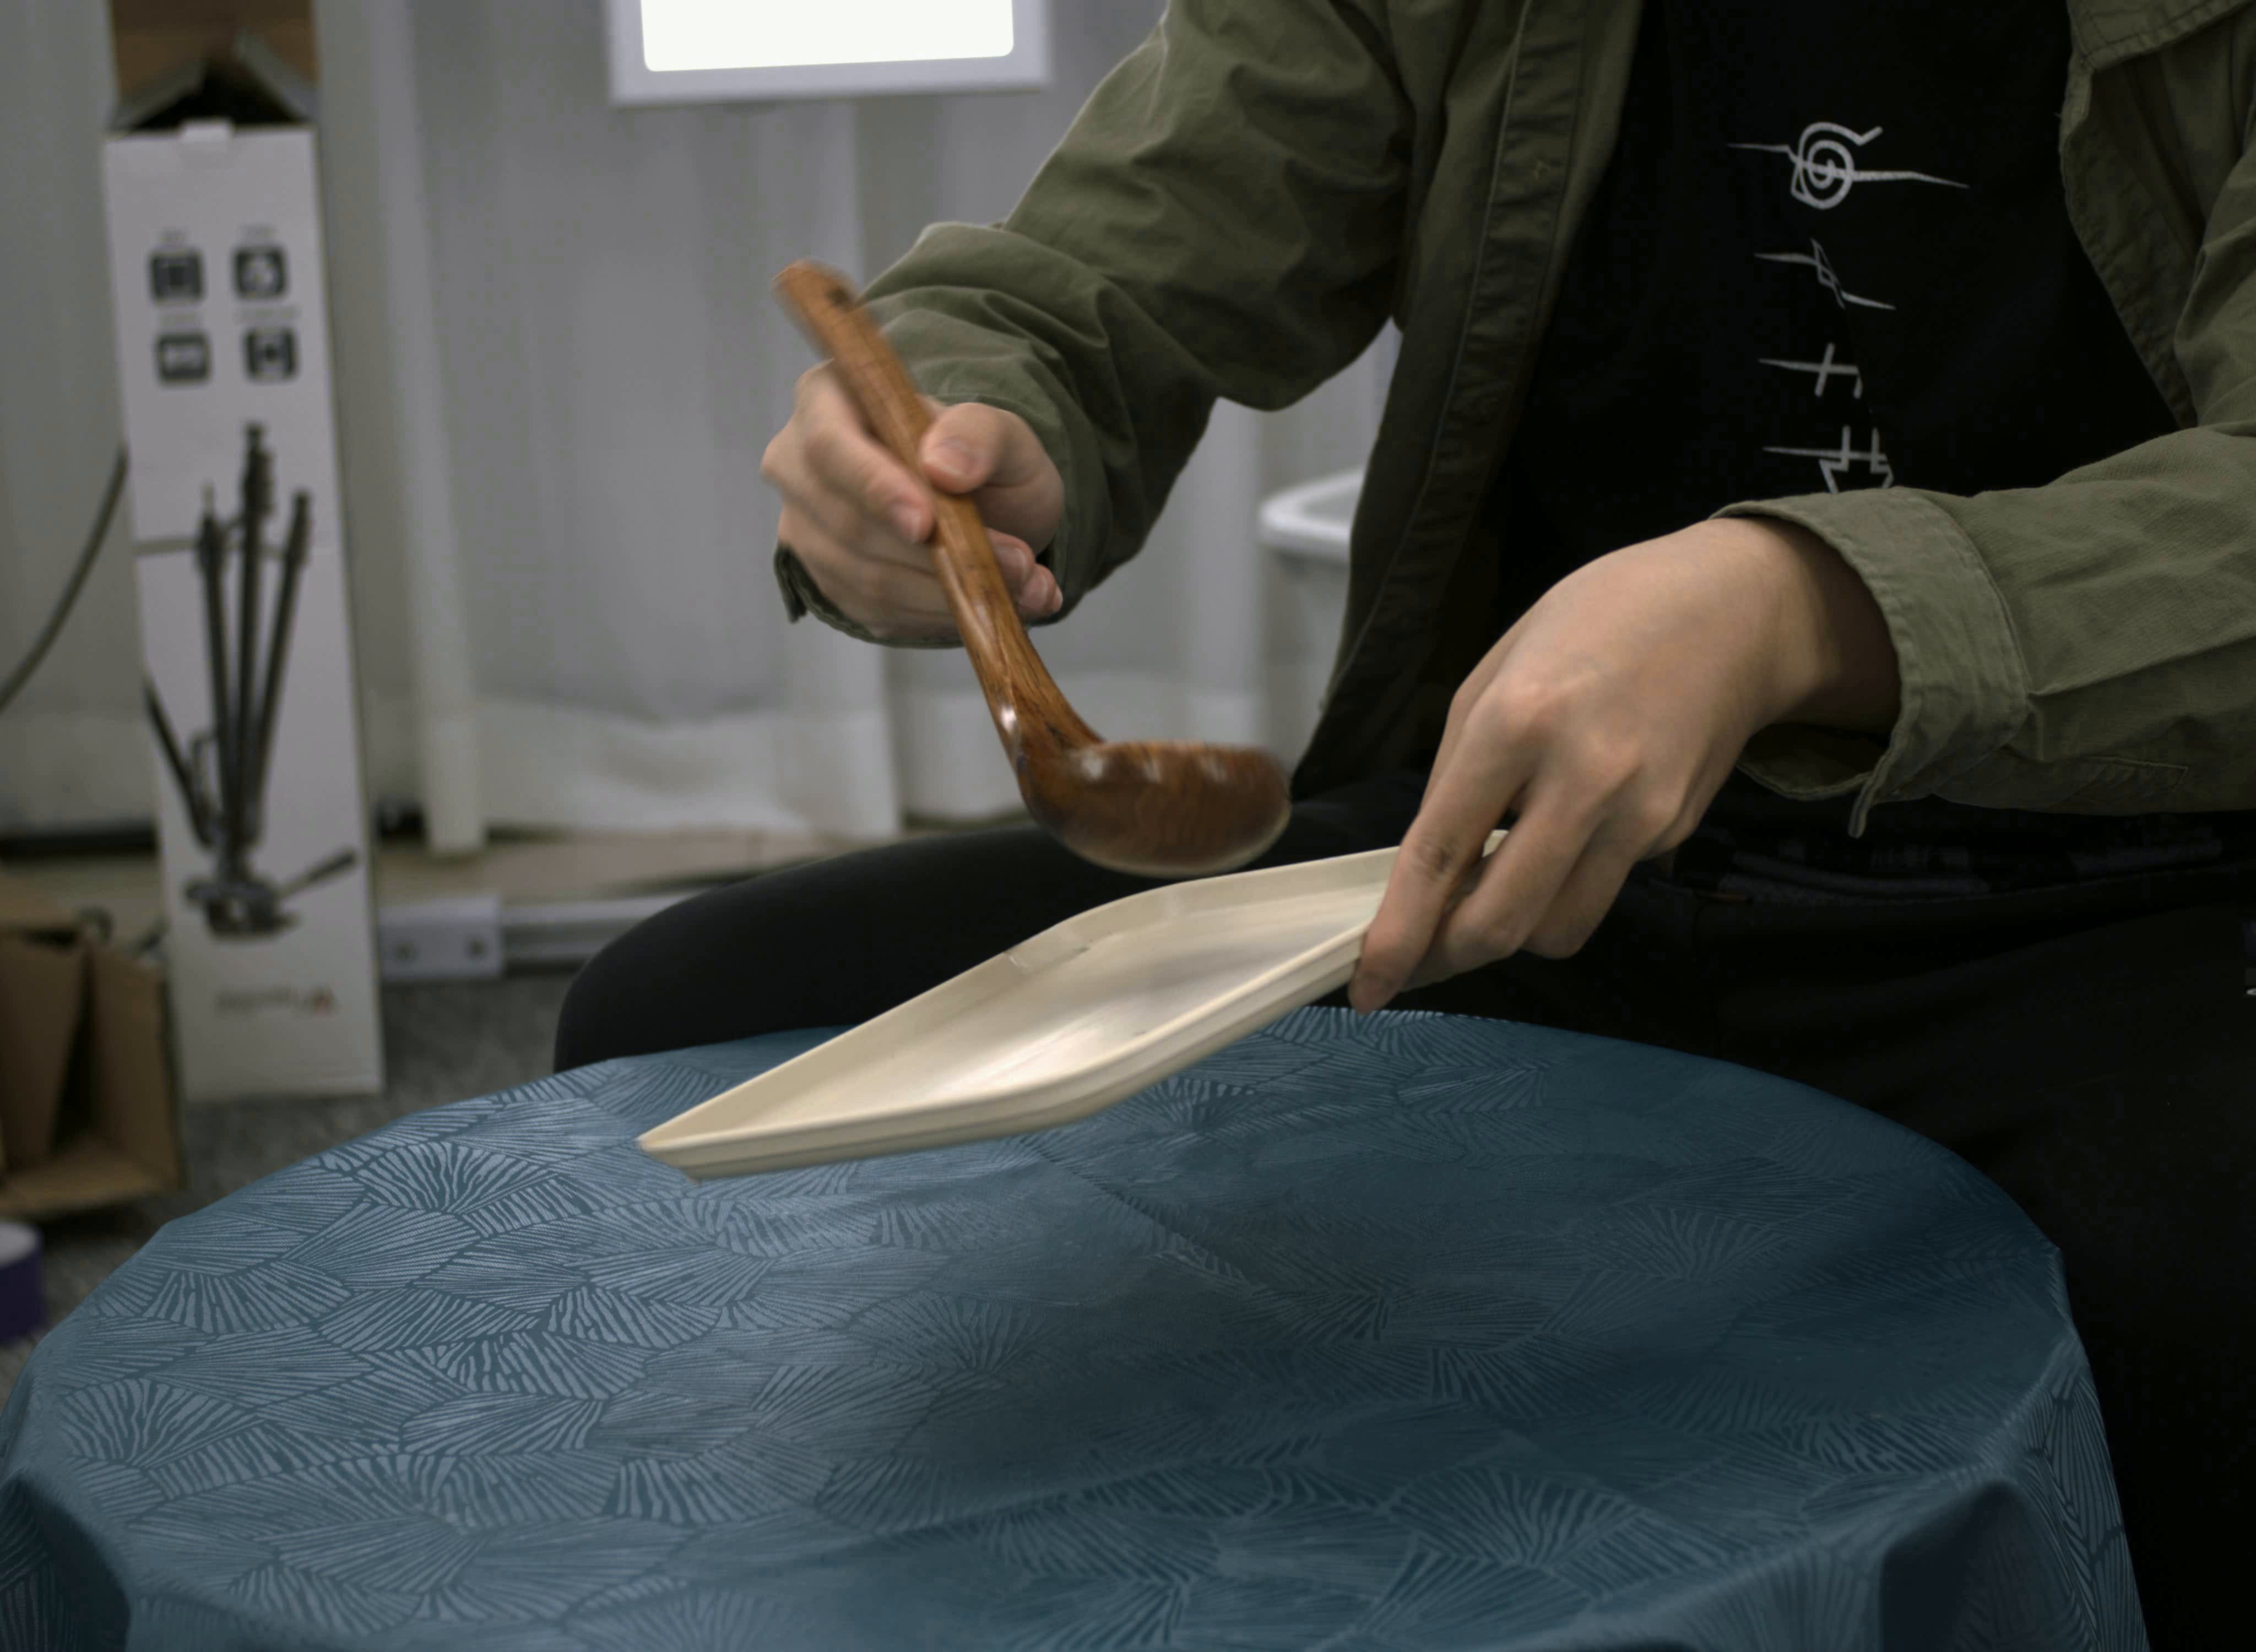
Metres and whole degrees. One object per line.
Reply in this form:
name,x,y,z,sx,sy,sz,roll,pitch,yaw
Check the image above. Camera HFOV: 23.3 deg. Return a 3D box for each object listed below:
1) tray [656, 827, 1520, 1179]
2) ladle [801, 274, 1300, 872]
tray,-0.007,0.051,1.540,0.171,0.017,0.240,-10,10,40
ladle,-0.030,-0.090,1.618,0.081,0.076,0.278,22,33,-44
